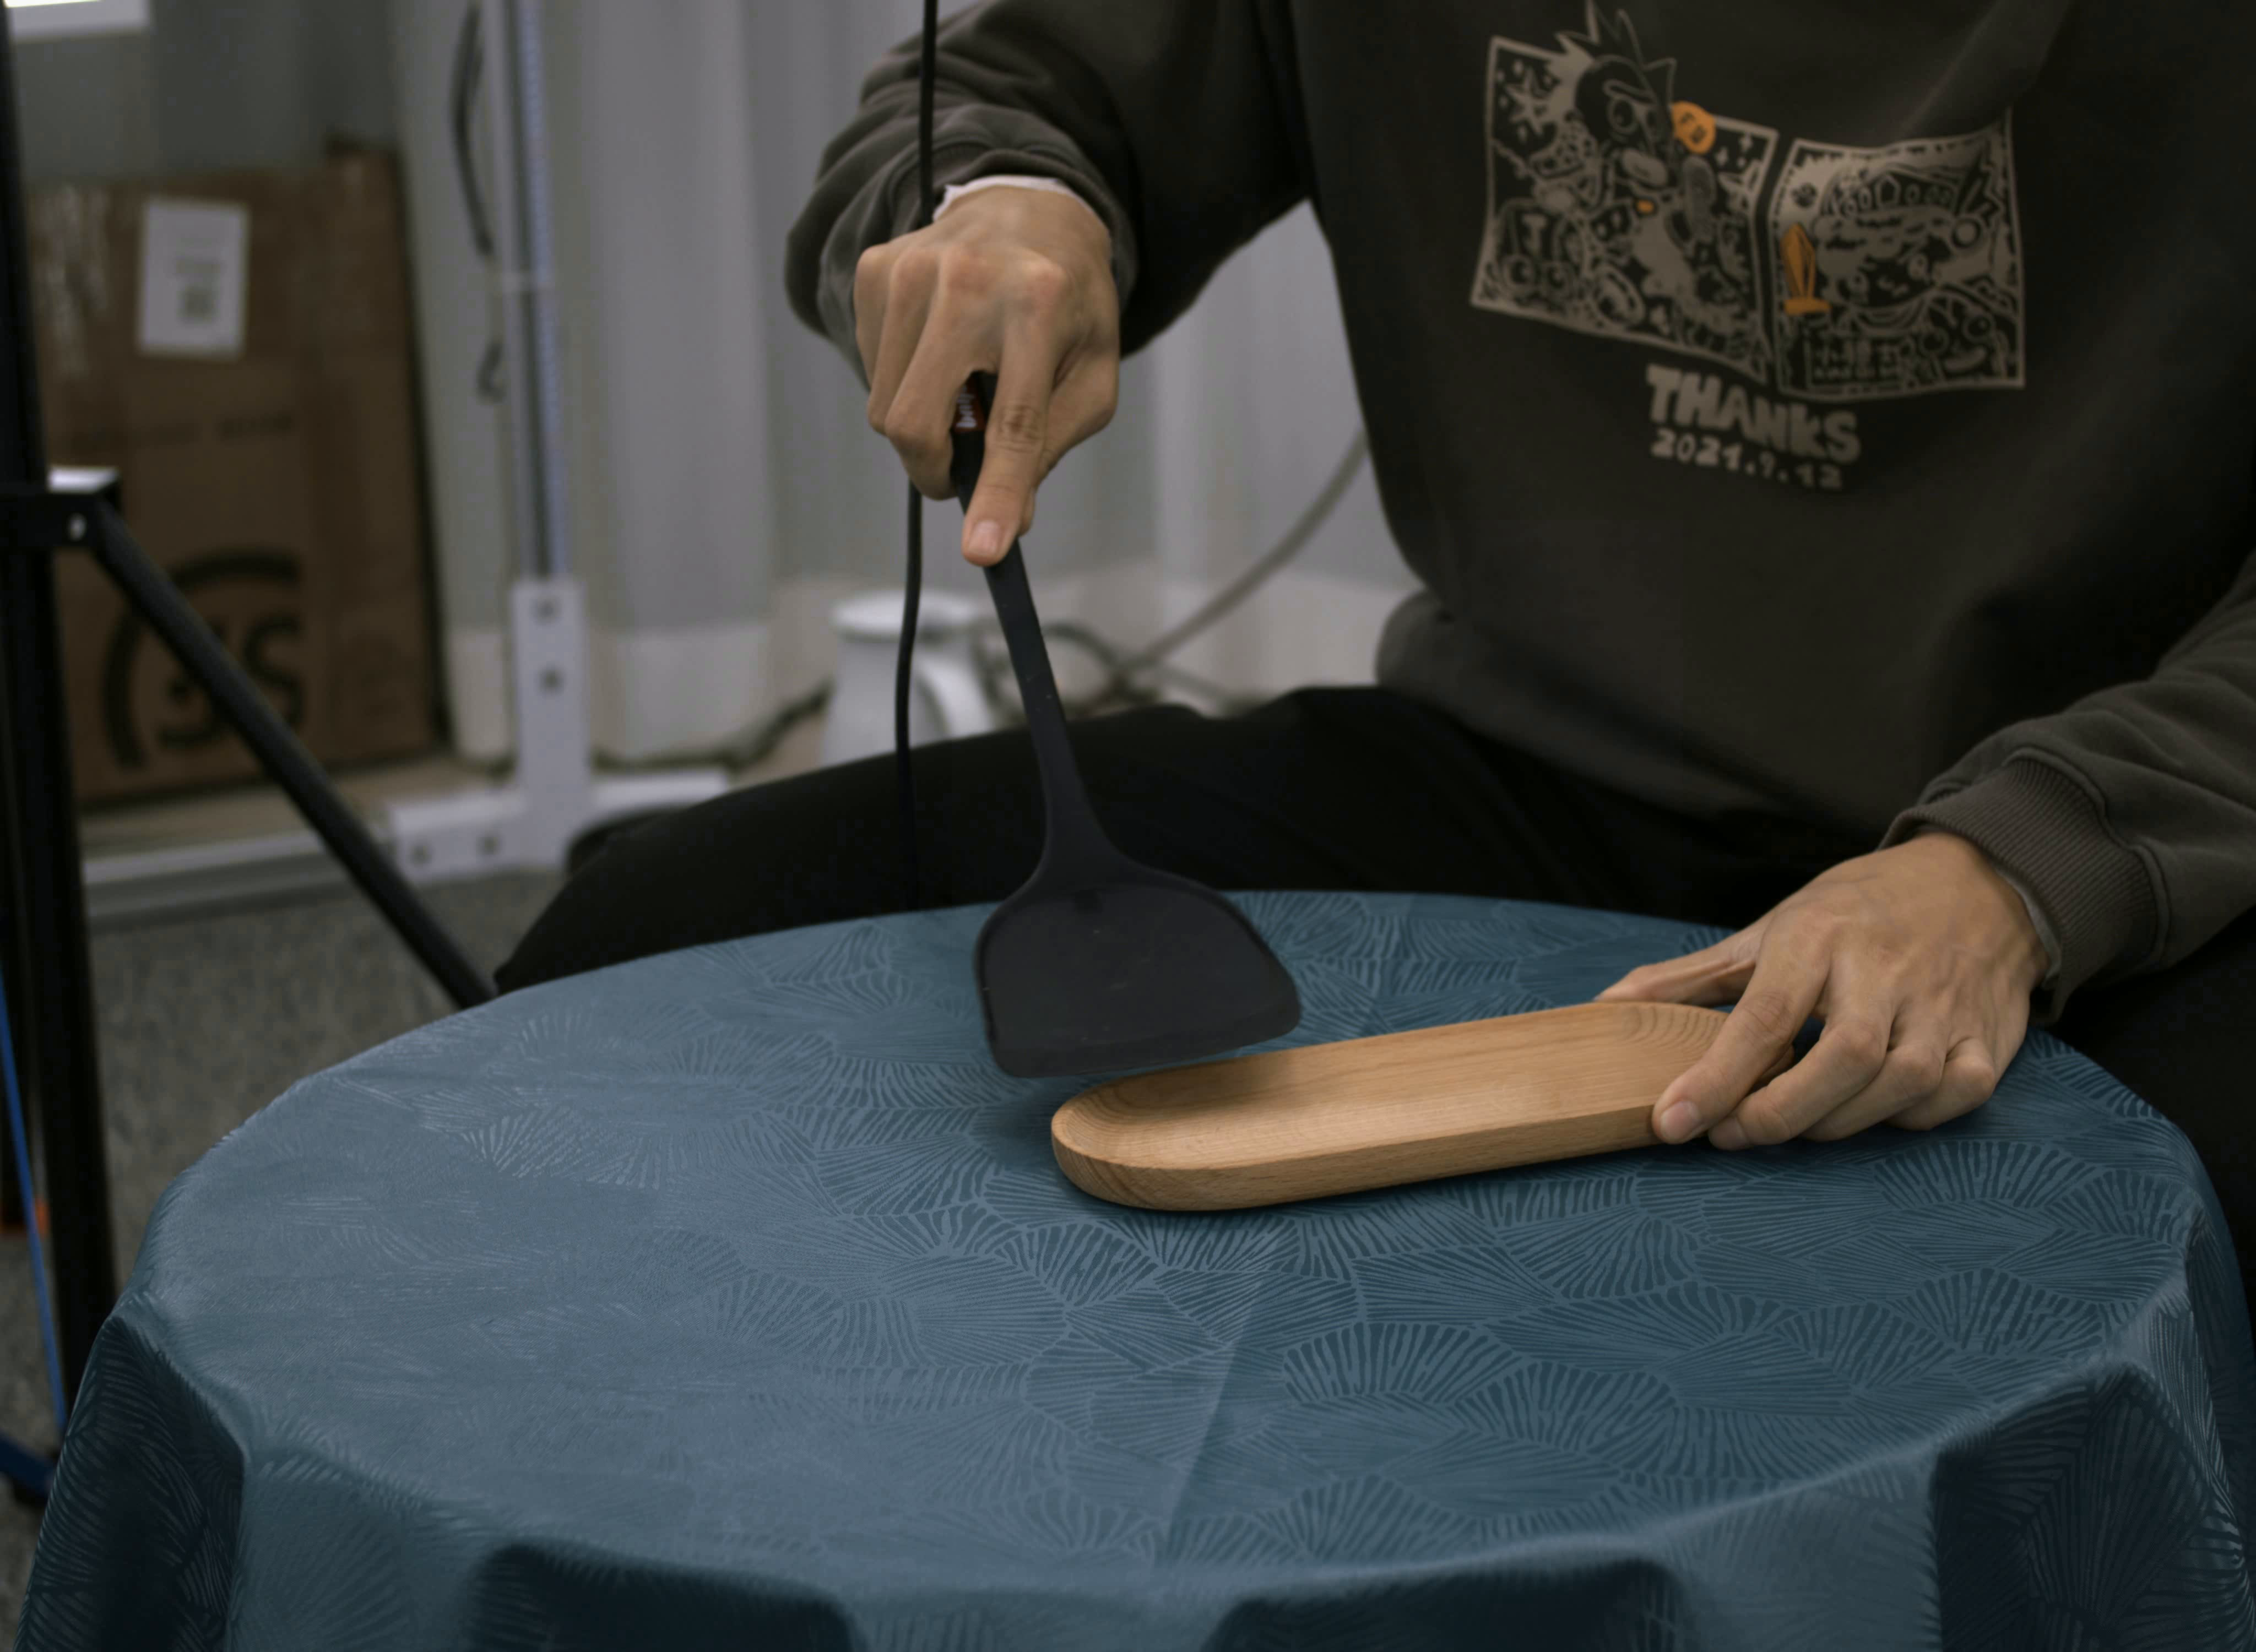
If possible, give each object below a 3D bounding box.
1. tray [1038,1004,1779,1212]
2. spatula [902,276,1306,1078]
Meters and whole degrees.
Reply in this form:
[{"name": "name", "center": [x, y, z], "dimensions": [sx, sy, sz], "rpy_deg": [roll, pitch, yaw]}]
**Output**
[{"name": "tray", "center": [0.086, 0.085, 1.597], "dimensions": [0.228, 0.020, 0.103], "rpy_deg": [-9, 15, -14]}, {"name": "spatula", "center": [-0.030, -0.055, 1.695], "dimensions": [0.098, 0.040, 0.331], "rpy_deg": [-9, 58, -11]}]
